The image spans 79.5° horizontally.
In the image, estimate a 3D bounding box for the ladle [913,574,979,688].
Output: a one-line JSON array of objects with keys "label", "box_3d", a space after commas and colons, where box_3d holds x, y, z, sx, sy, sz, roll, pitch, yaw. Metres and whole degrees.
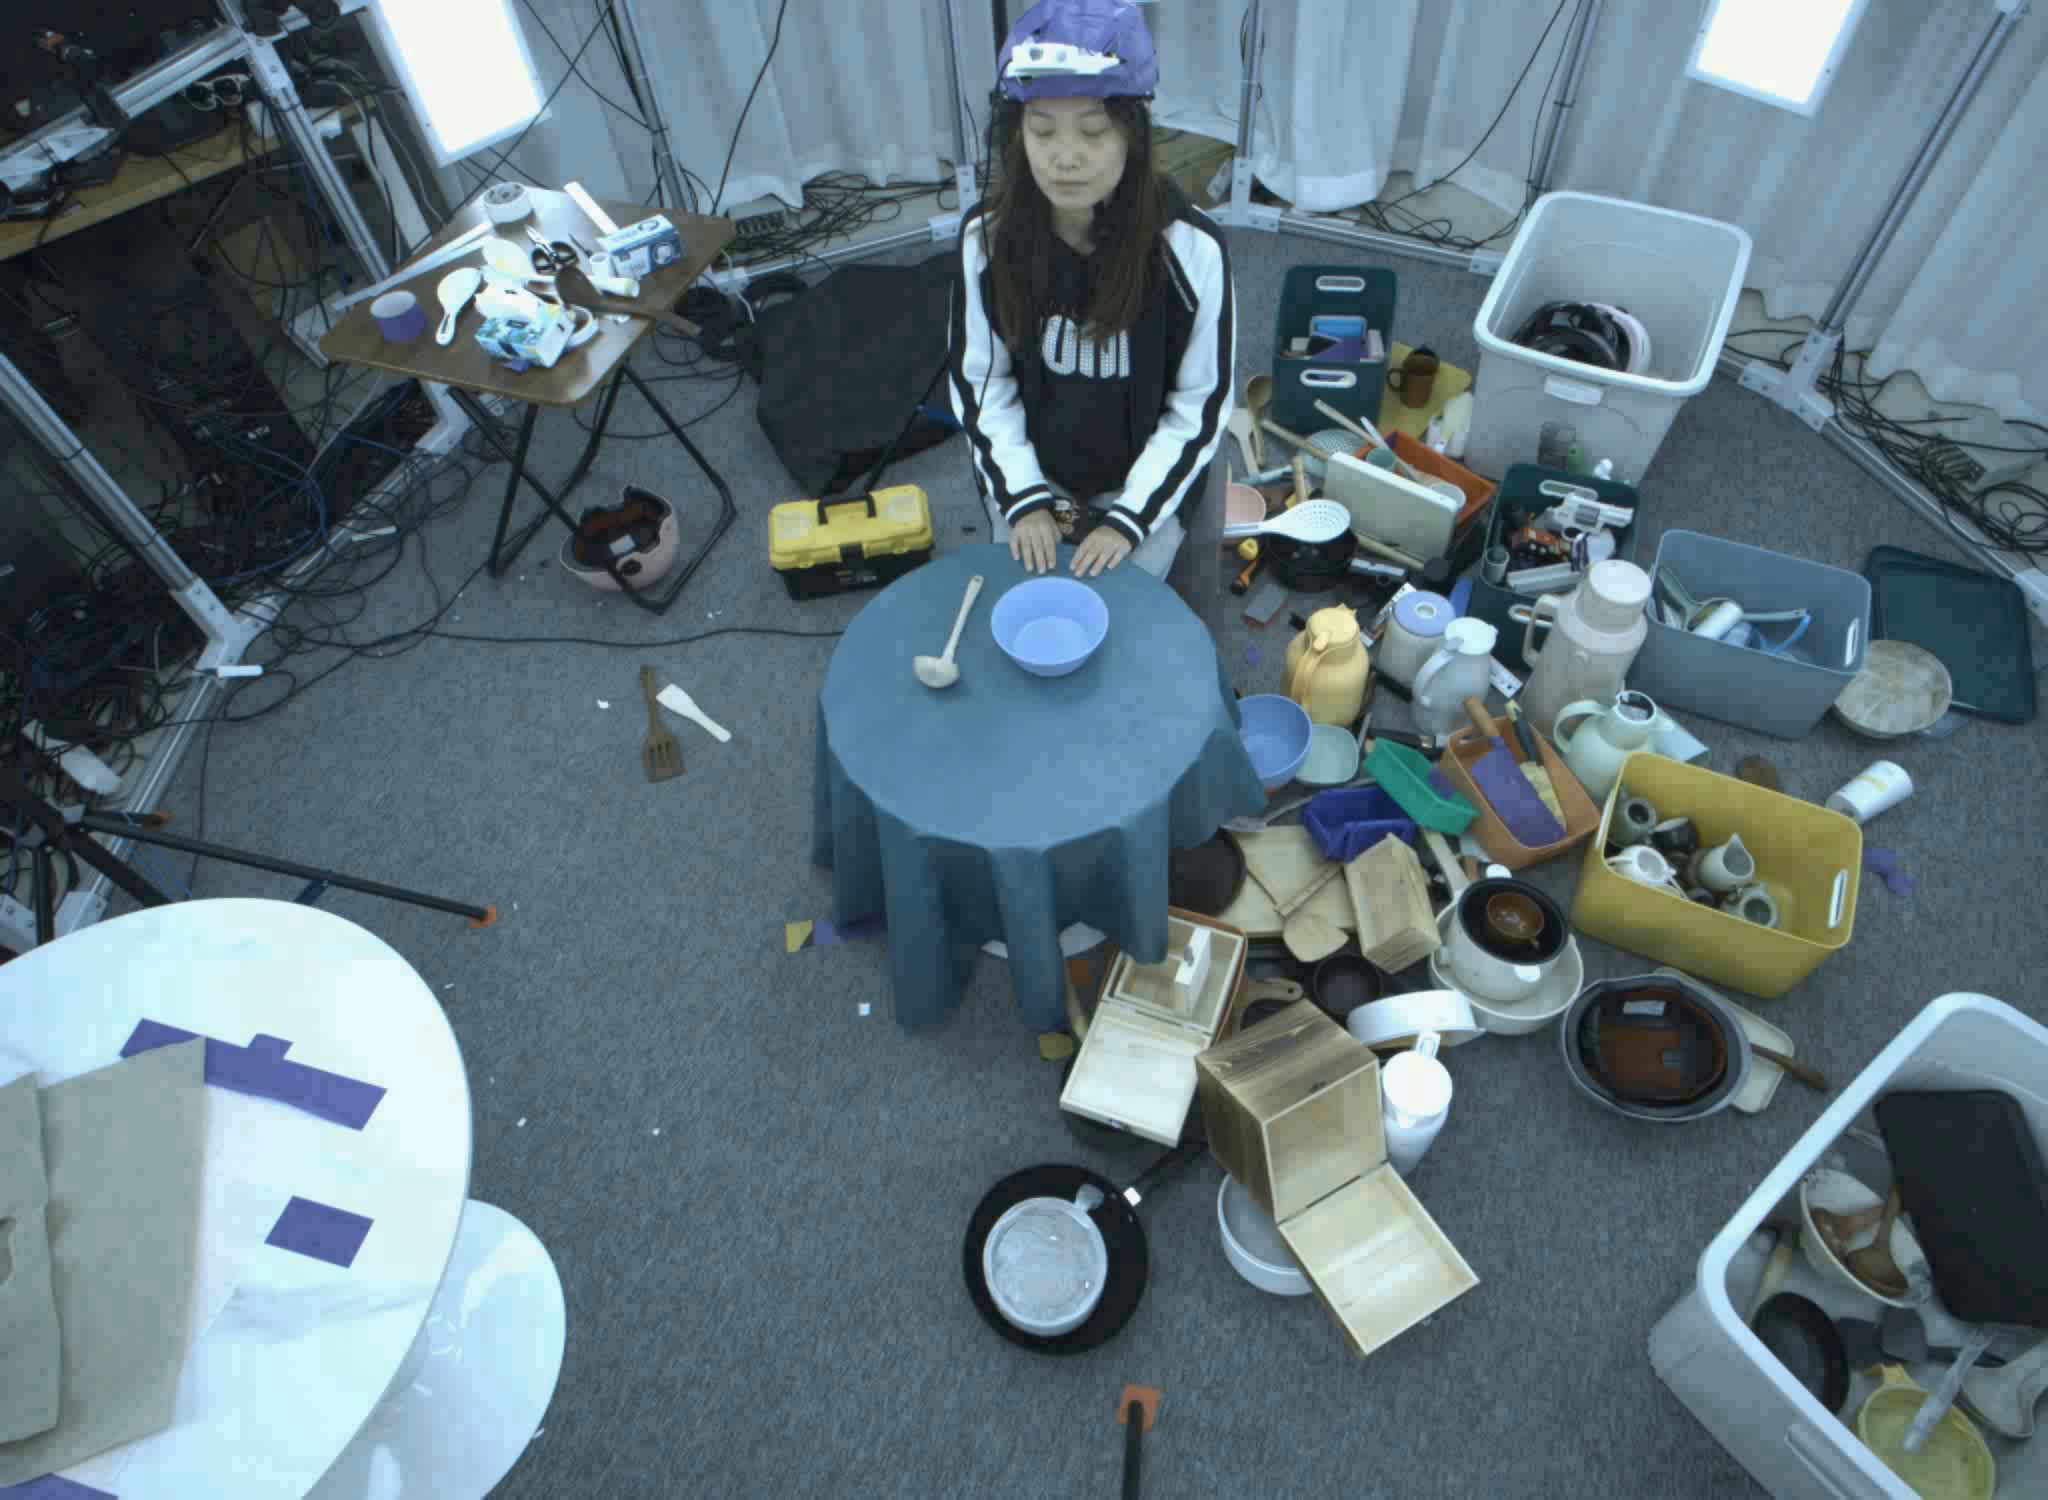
[{"label": "ladle", "box_3d": [-0.109, -0.205, 1.891, 0.072, 0.073, 0.253, 10, 56, 8]}]

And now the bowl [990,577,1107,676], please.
[{"label": "bowl", "box_3d": [0.038, -0.178, 1.870, 0.176, 0.071, 0.174, 0, 56, 1]}]
